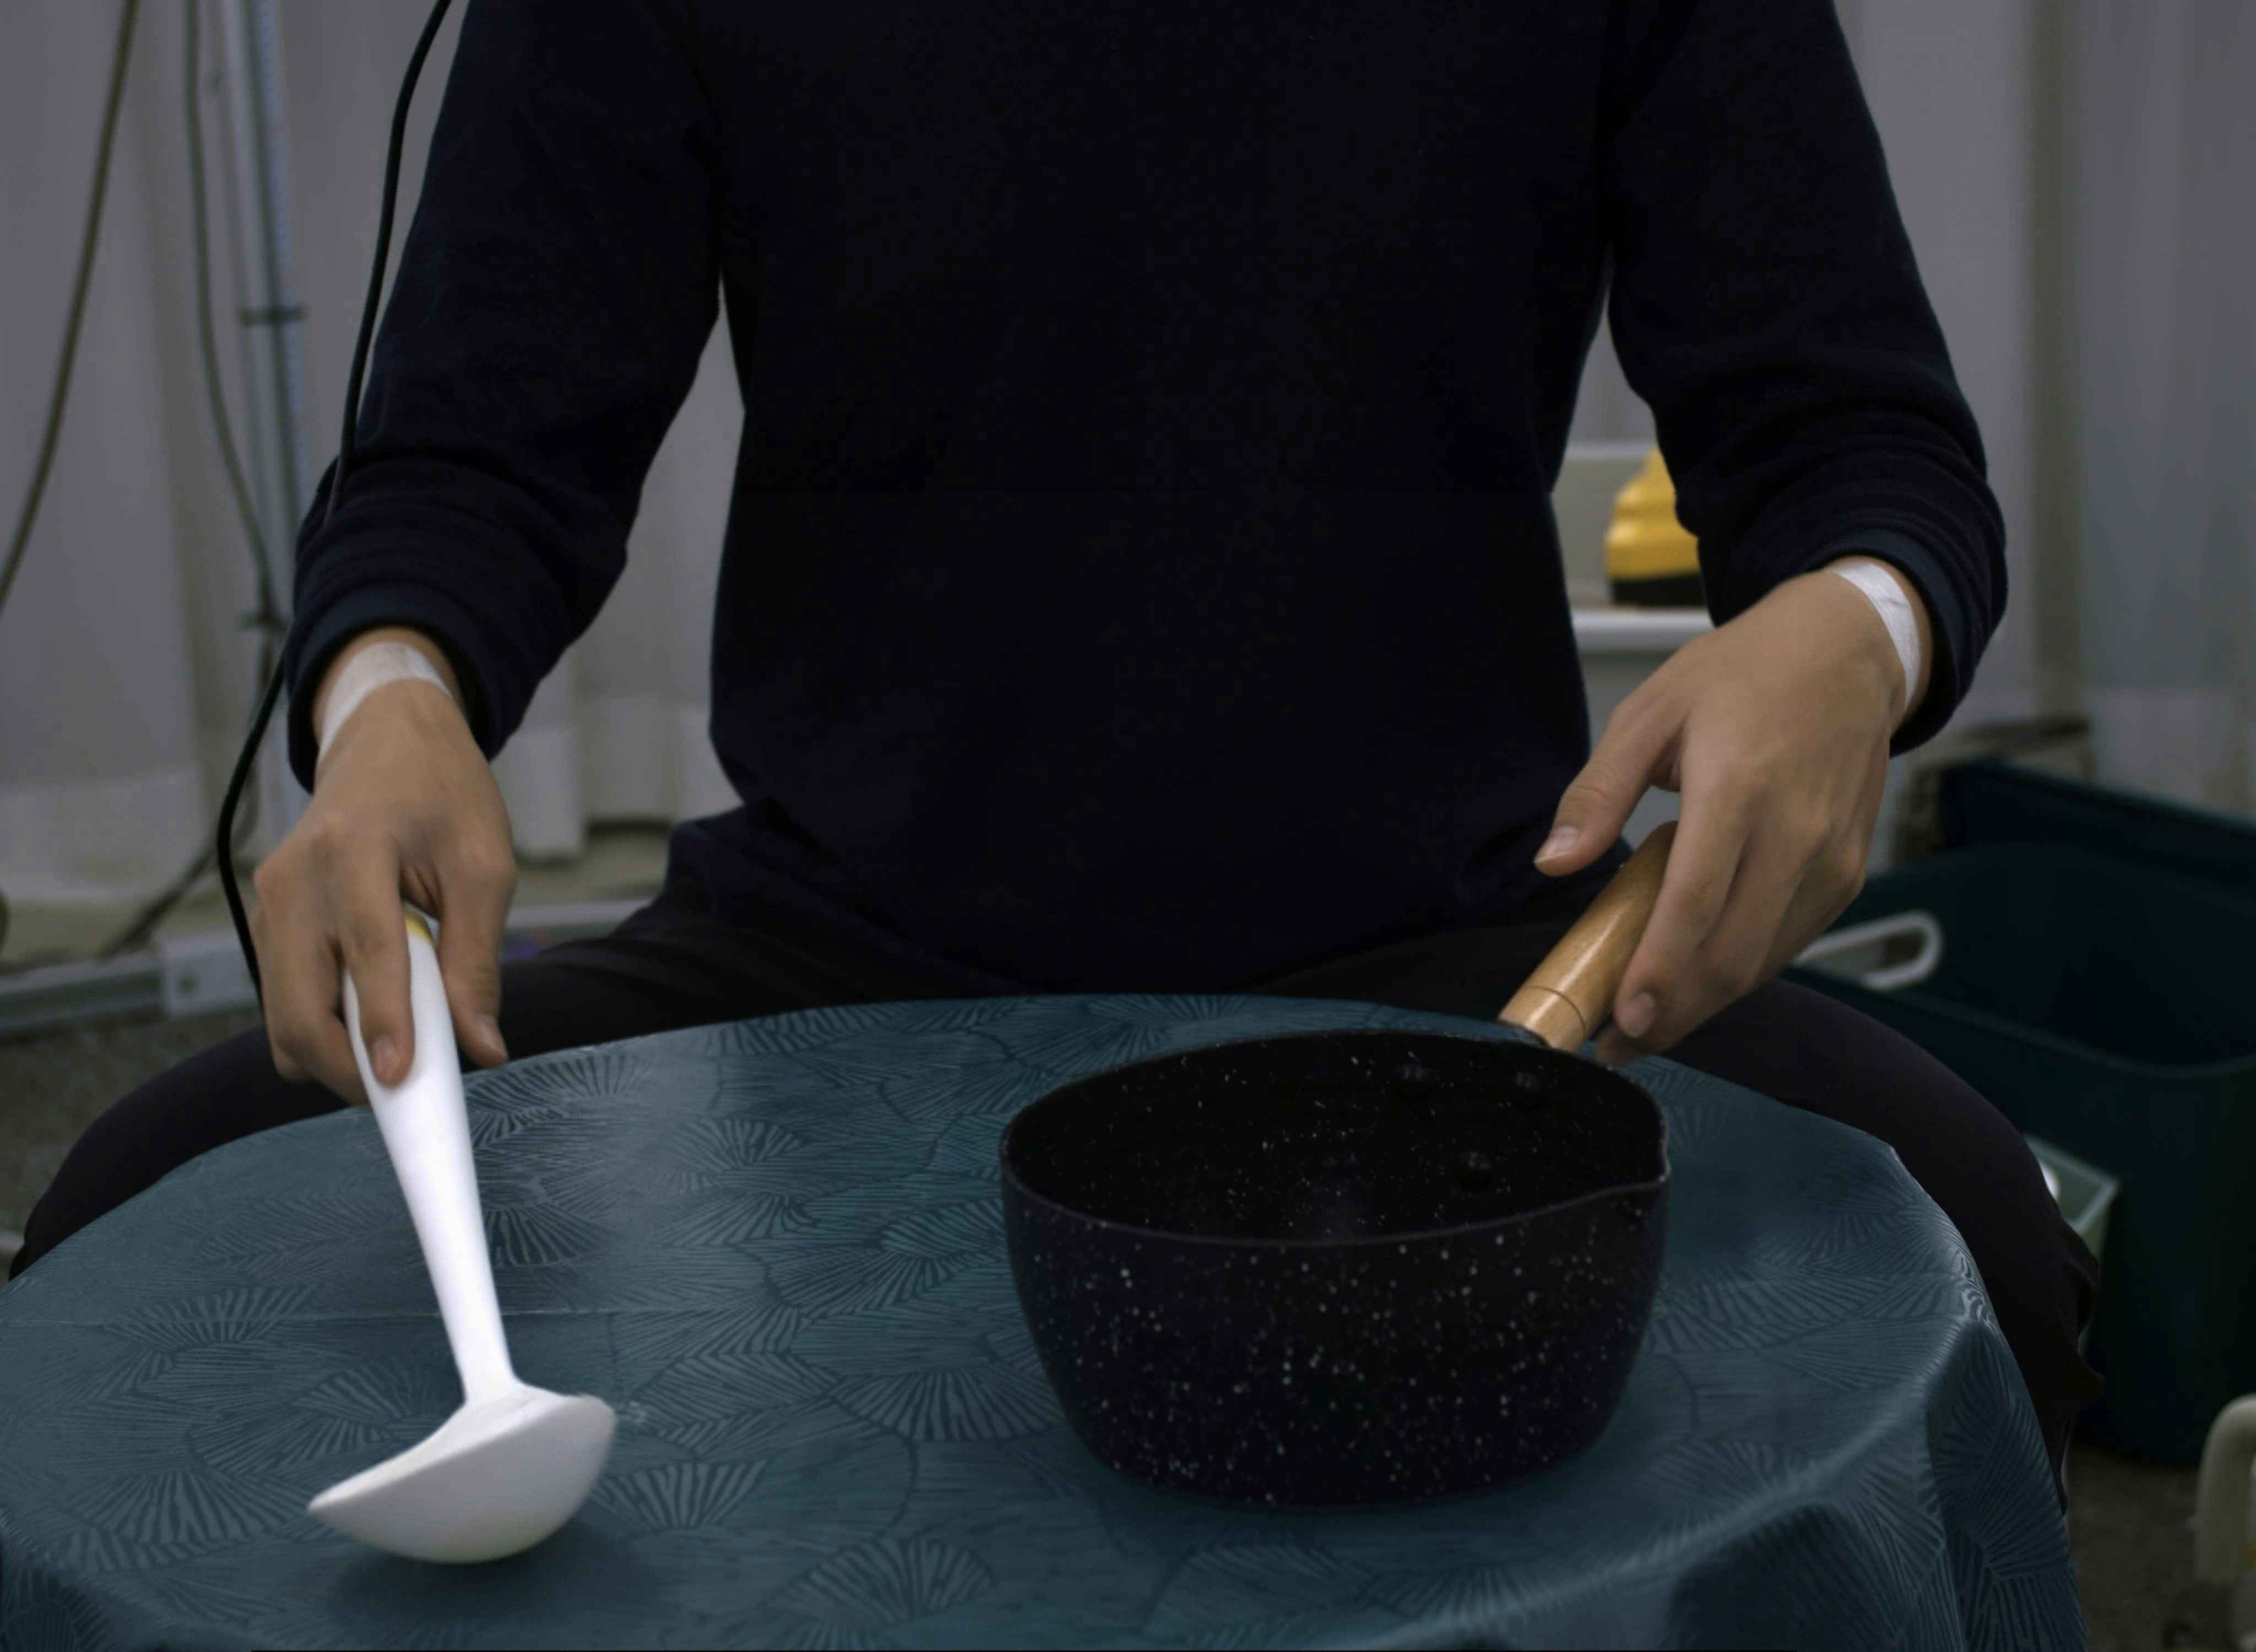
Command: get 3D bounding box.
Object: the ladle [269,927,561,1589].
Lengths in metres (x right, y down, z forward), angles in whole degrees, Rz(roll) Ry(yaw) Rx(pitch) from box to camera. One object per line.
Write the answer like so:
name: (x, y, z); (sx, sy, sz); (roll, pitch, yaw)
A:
ladle: (-0.206, 0.111, 1.537); (0.090, 0.069, 0.297); (-35, 34, 10)

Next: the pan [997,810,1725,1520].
pan: (0.095, 0.092, 1.574); (0.208, 0.108, 0.343); (4, 18, 28)
